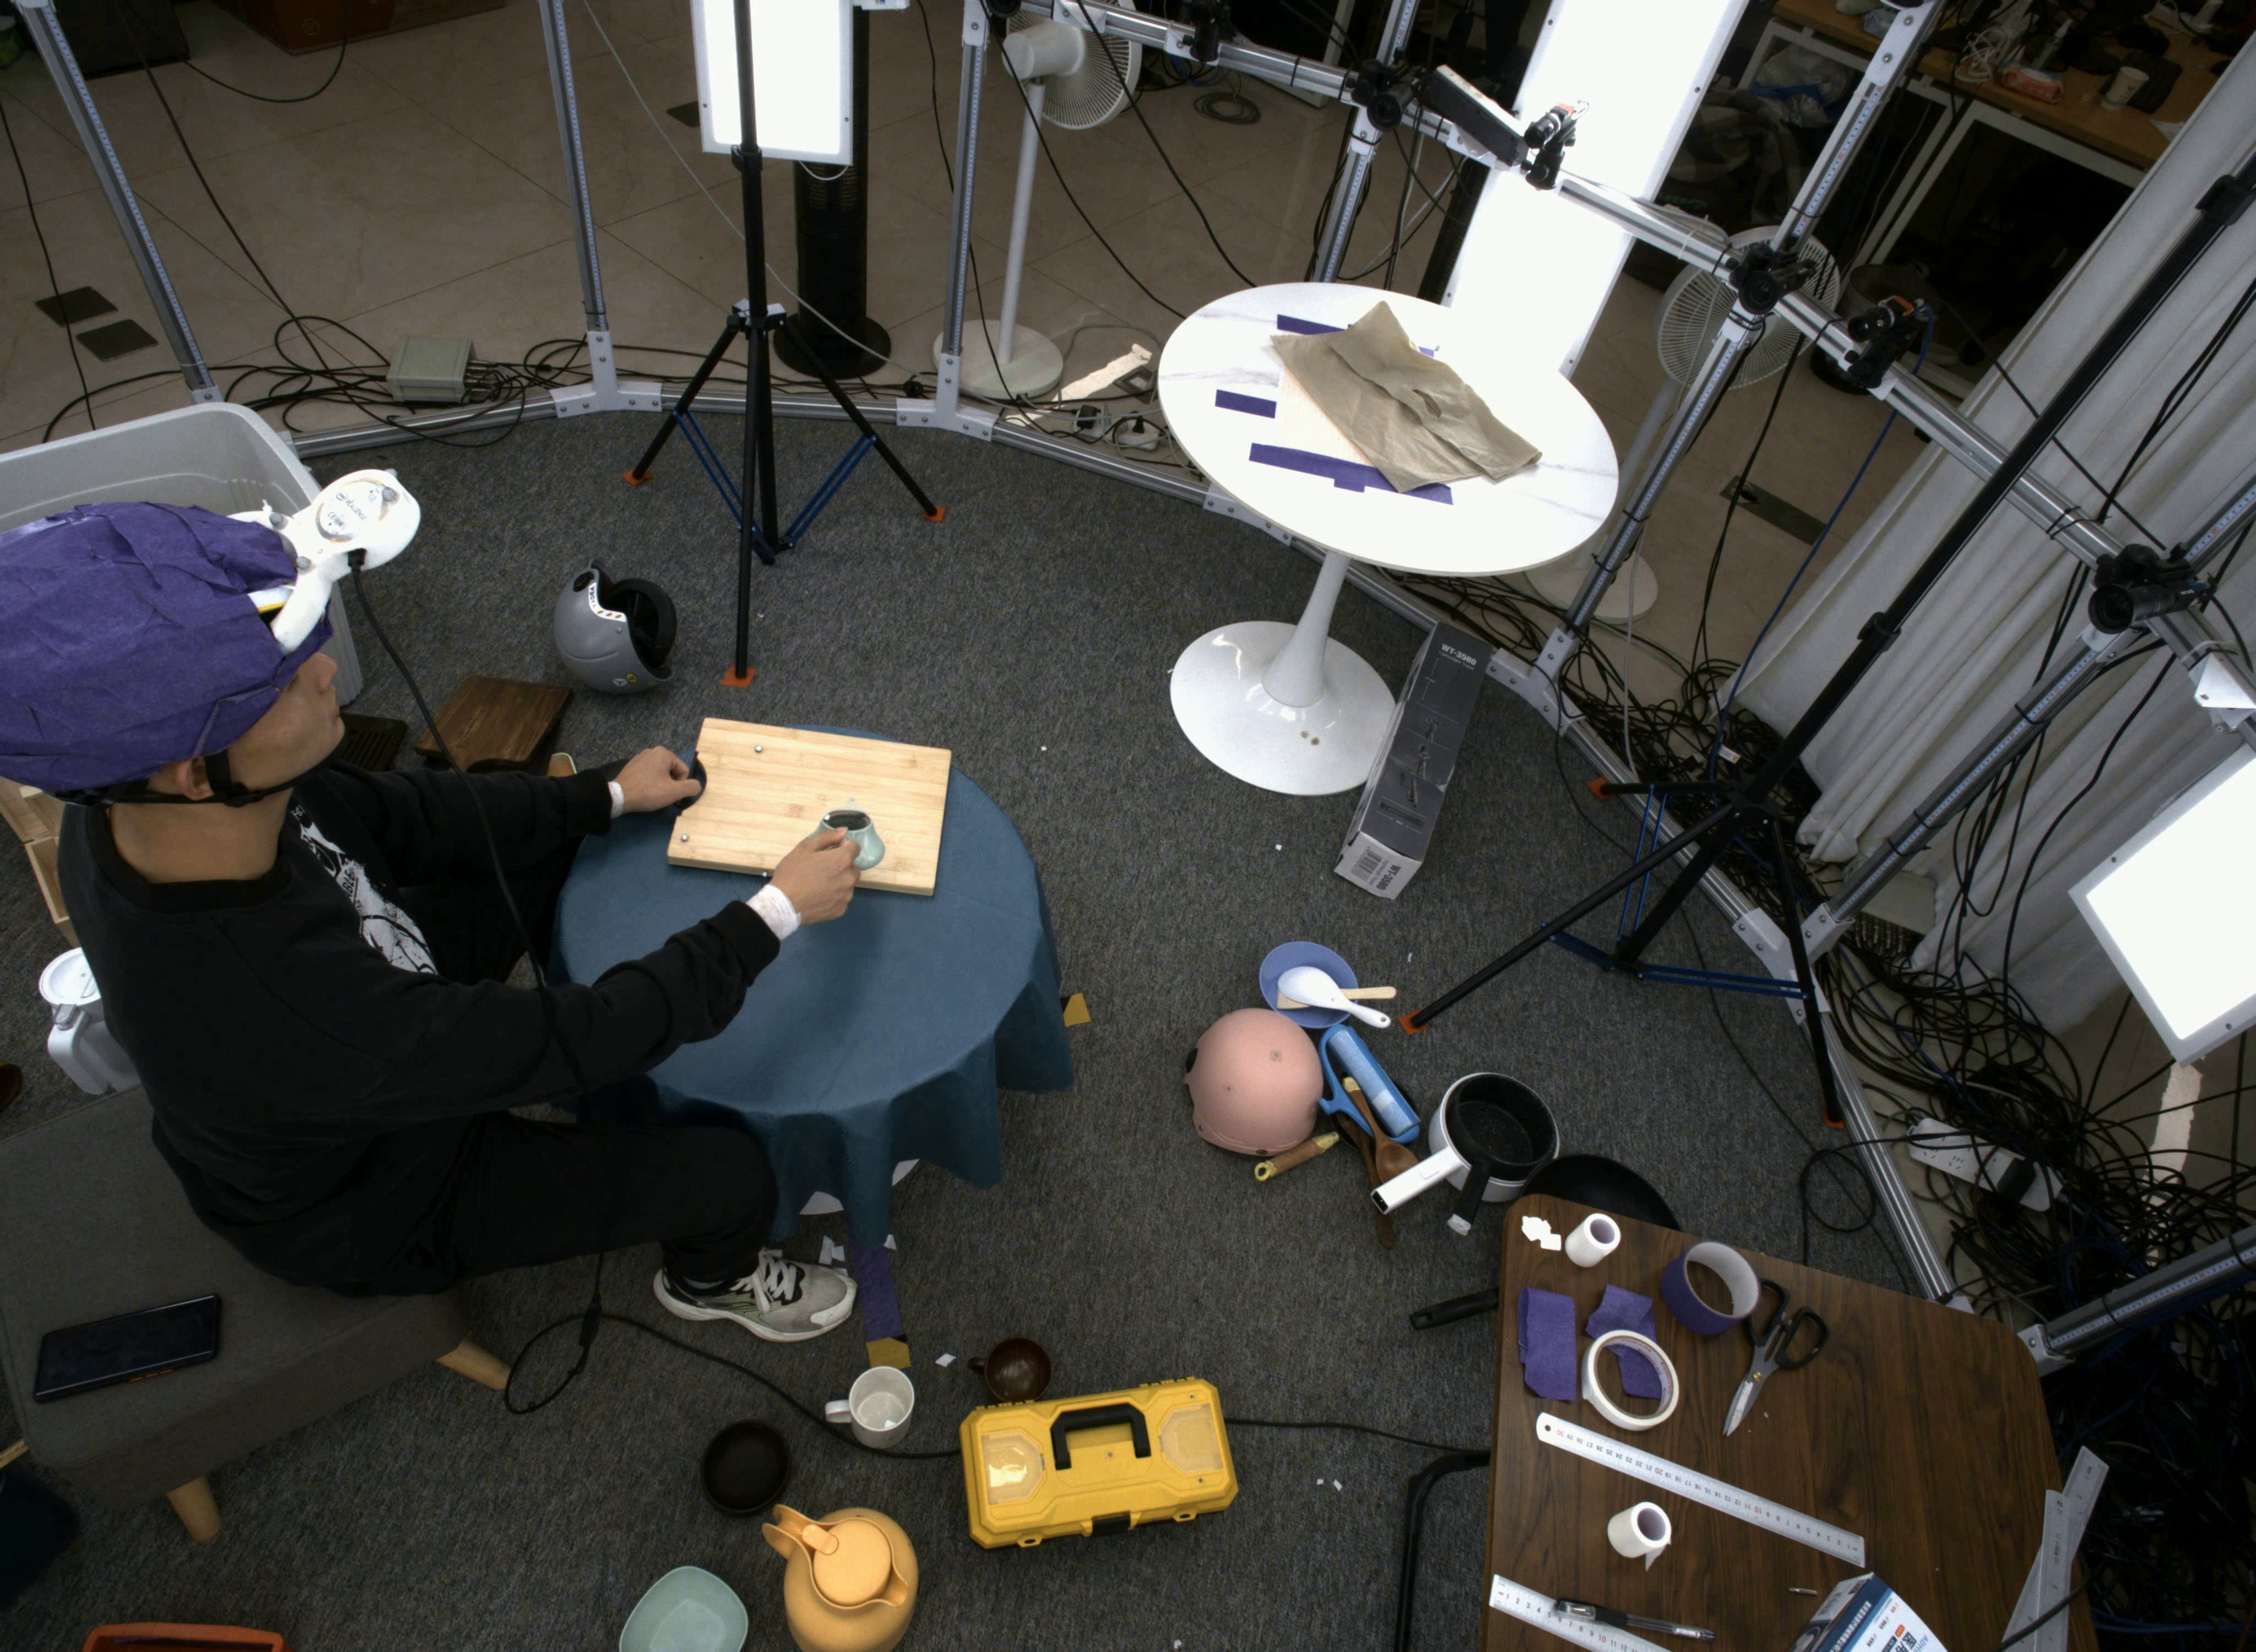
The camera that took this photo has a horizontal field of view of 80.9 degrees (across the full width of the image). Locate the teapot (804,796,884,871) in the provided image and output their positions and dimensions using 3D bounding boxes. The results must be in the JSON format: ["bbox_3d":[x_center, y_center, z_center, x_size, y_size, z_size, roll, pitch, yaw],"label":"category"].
[{"bbox_3d":[-0.344,0.015,1.575,0.096,0.063,0.133,5,25,-12],"label":"teapot"}]

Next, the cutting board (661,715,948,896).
[{"bbox_3d":[-0.423,-0.031,1.729,0.349,0.024,0.246,7,52,-11],"label":"cutting board"}]
